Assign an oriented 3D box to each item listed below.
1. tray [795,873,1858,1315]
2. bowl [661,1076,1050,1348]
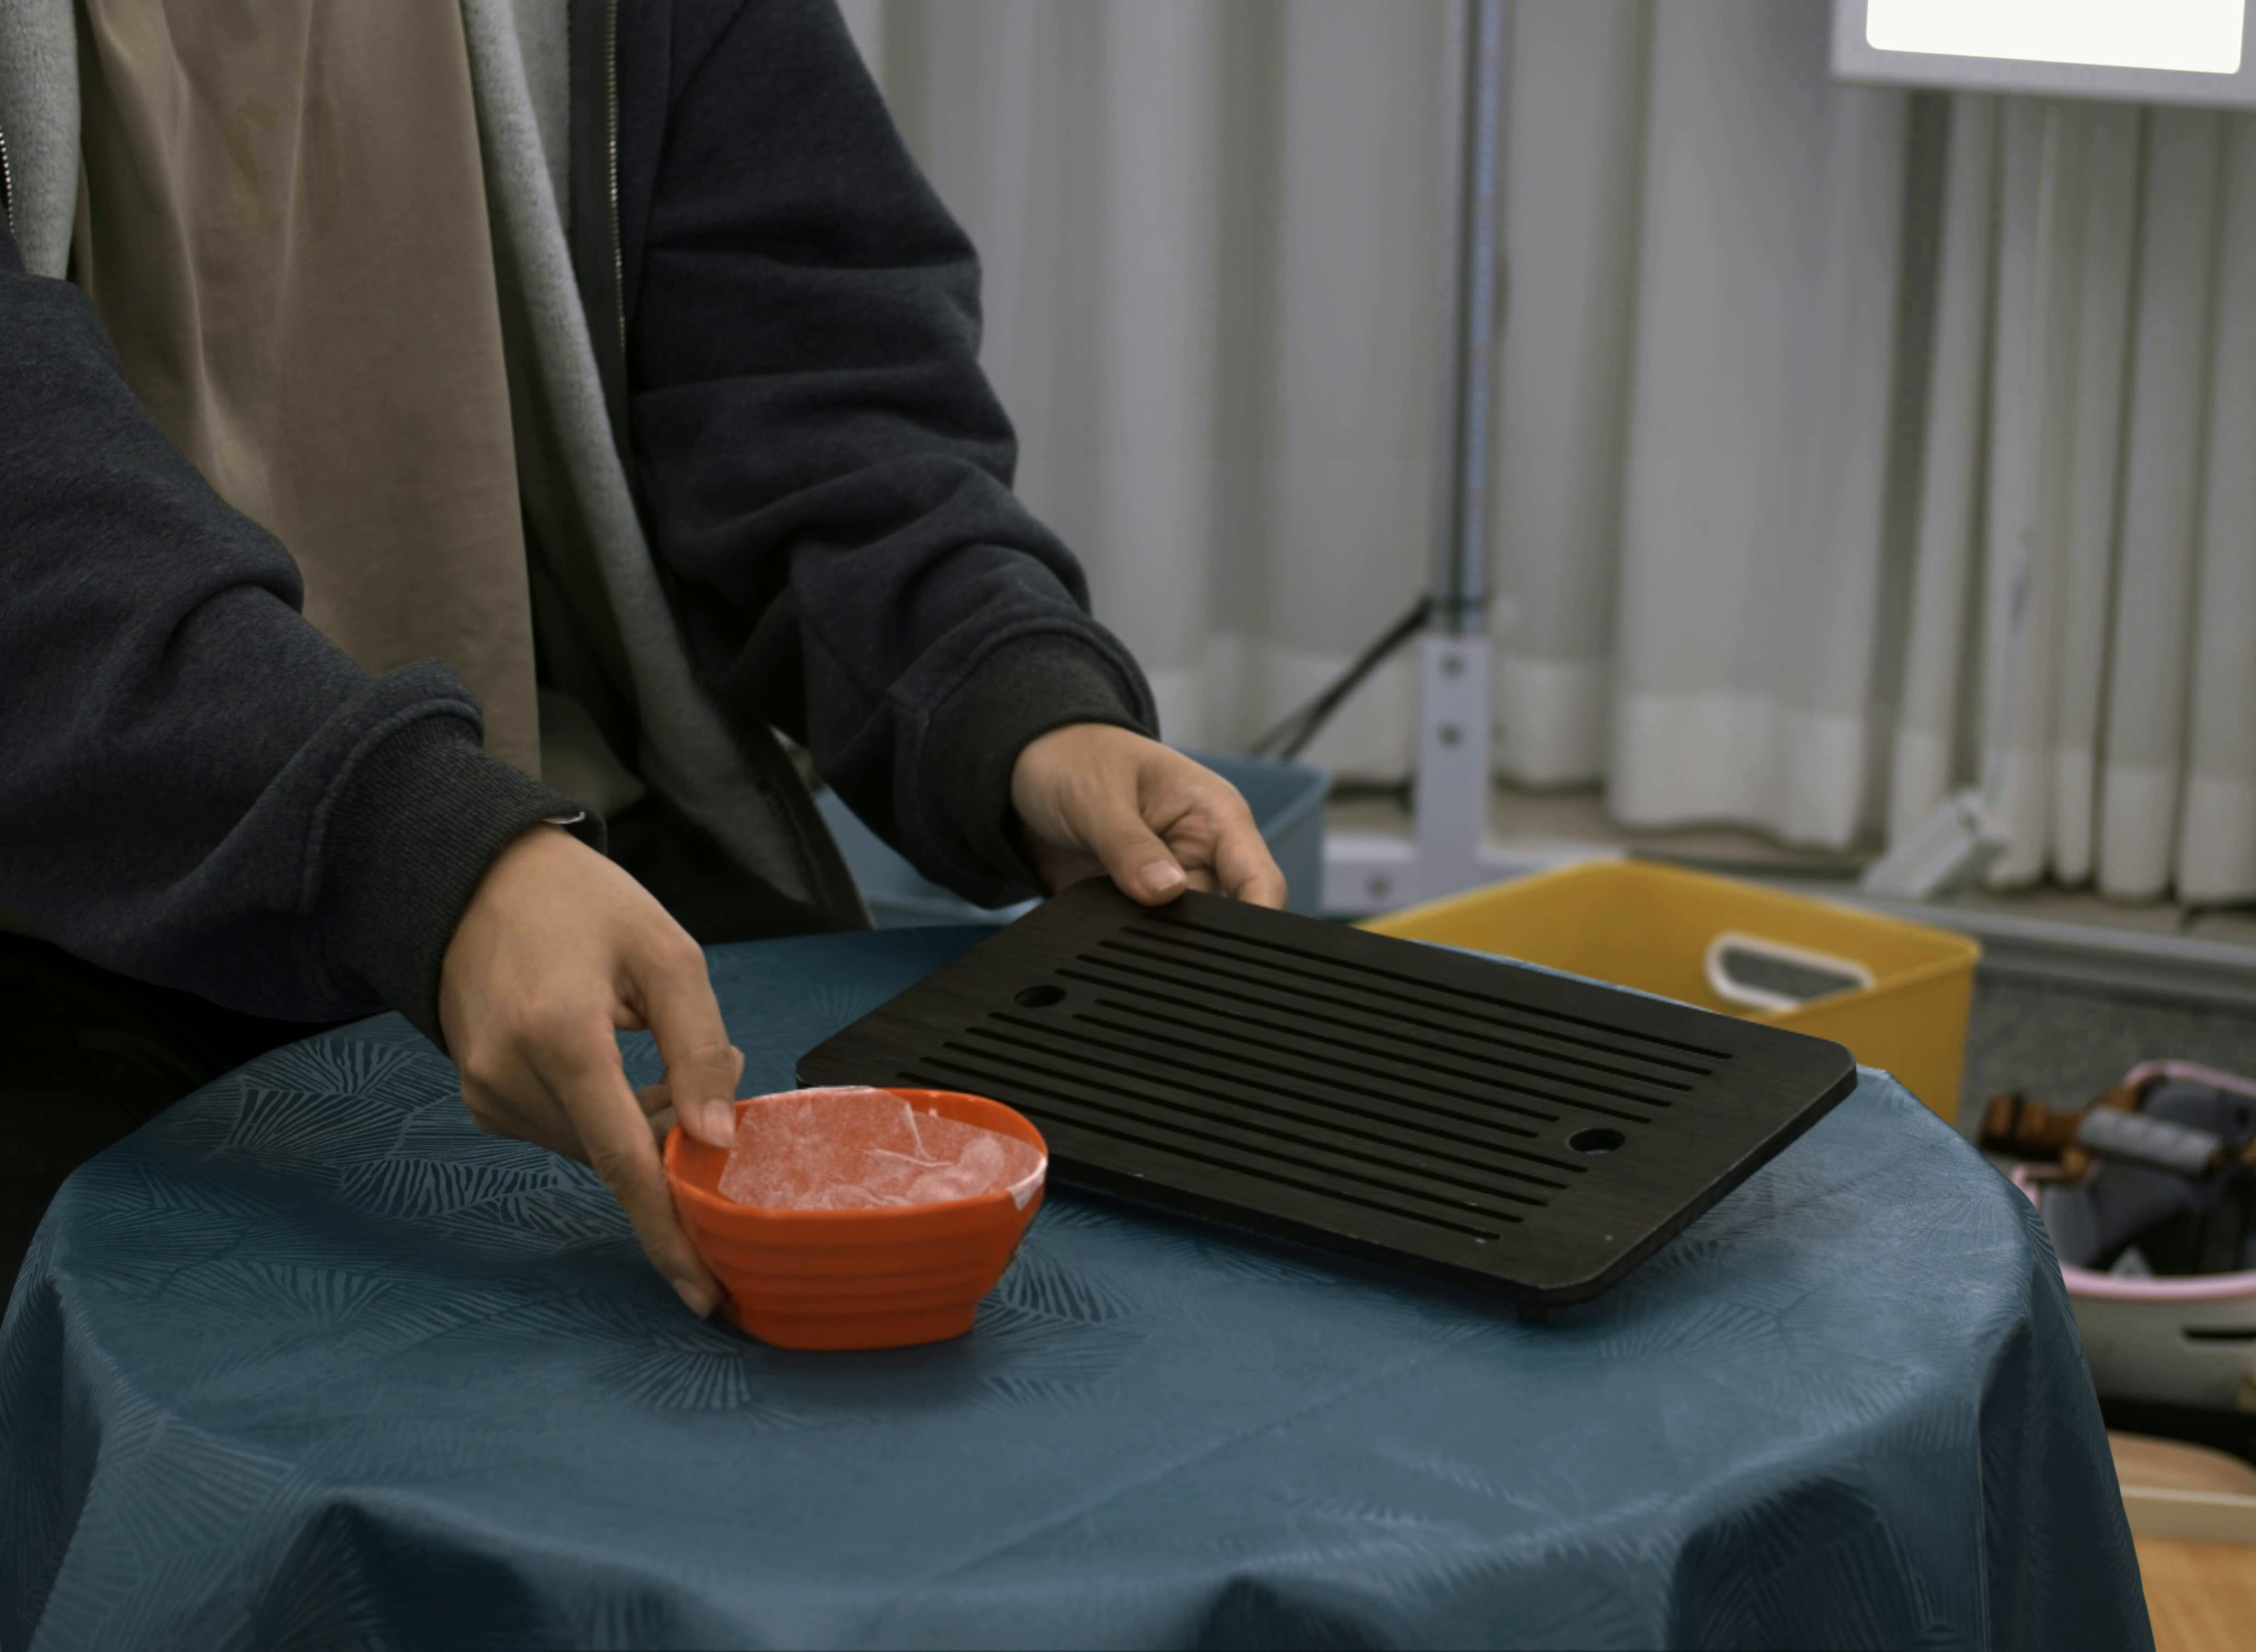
[{"bbox_3d":[0.059,0.080,1.647,0.302,0.019,0.170,13,30,35],"label":"tray"},{"bbox_3d":[-0.078,0.113,1.513,0.118,0.052,0.118,0,17,1],"label":"bowl"}]
